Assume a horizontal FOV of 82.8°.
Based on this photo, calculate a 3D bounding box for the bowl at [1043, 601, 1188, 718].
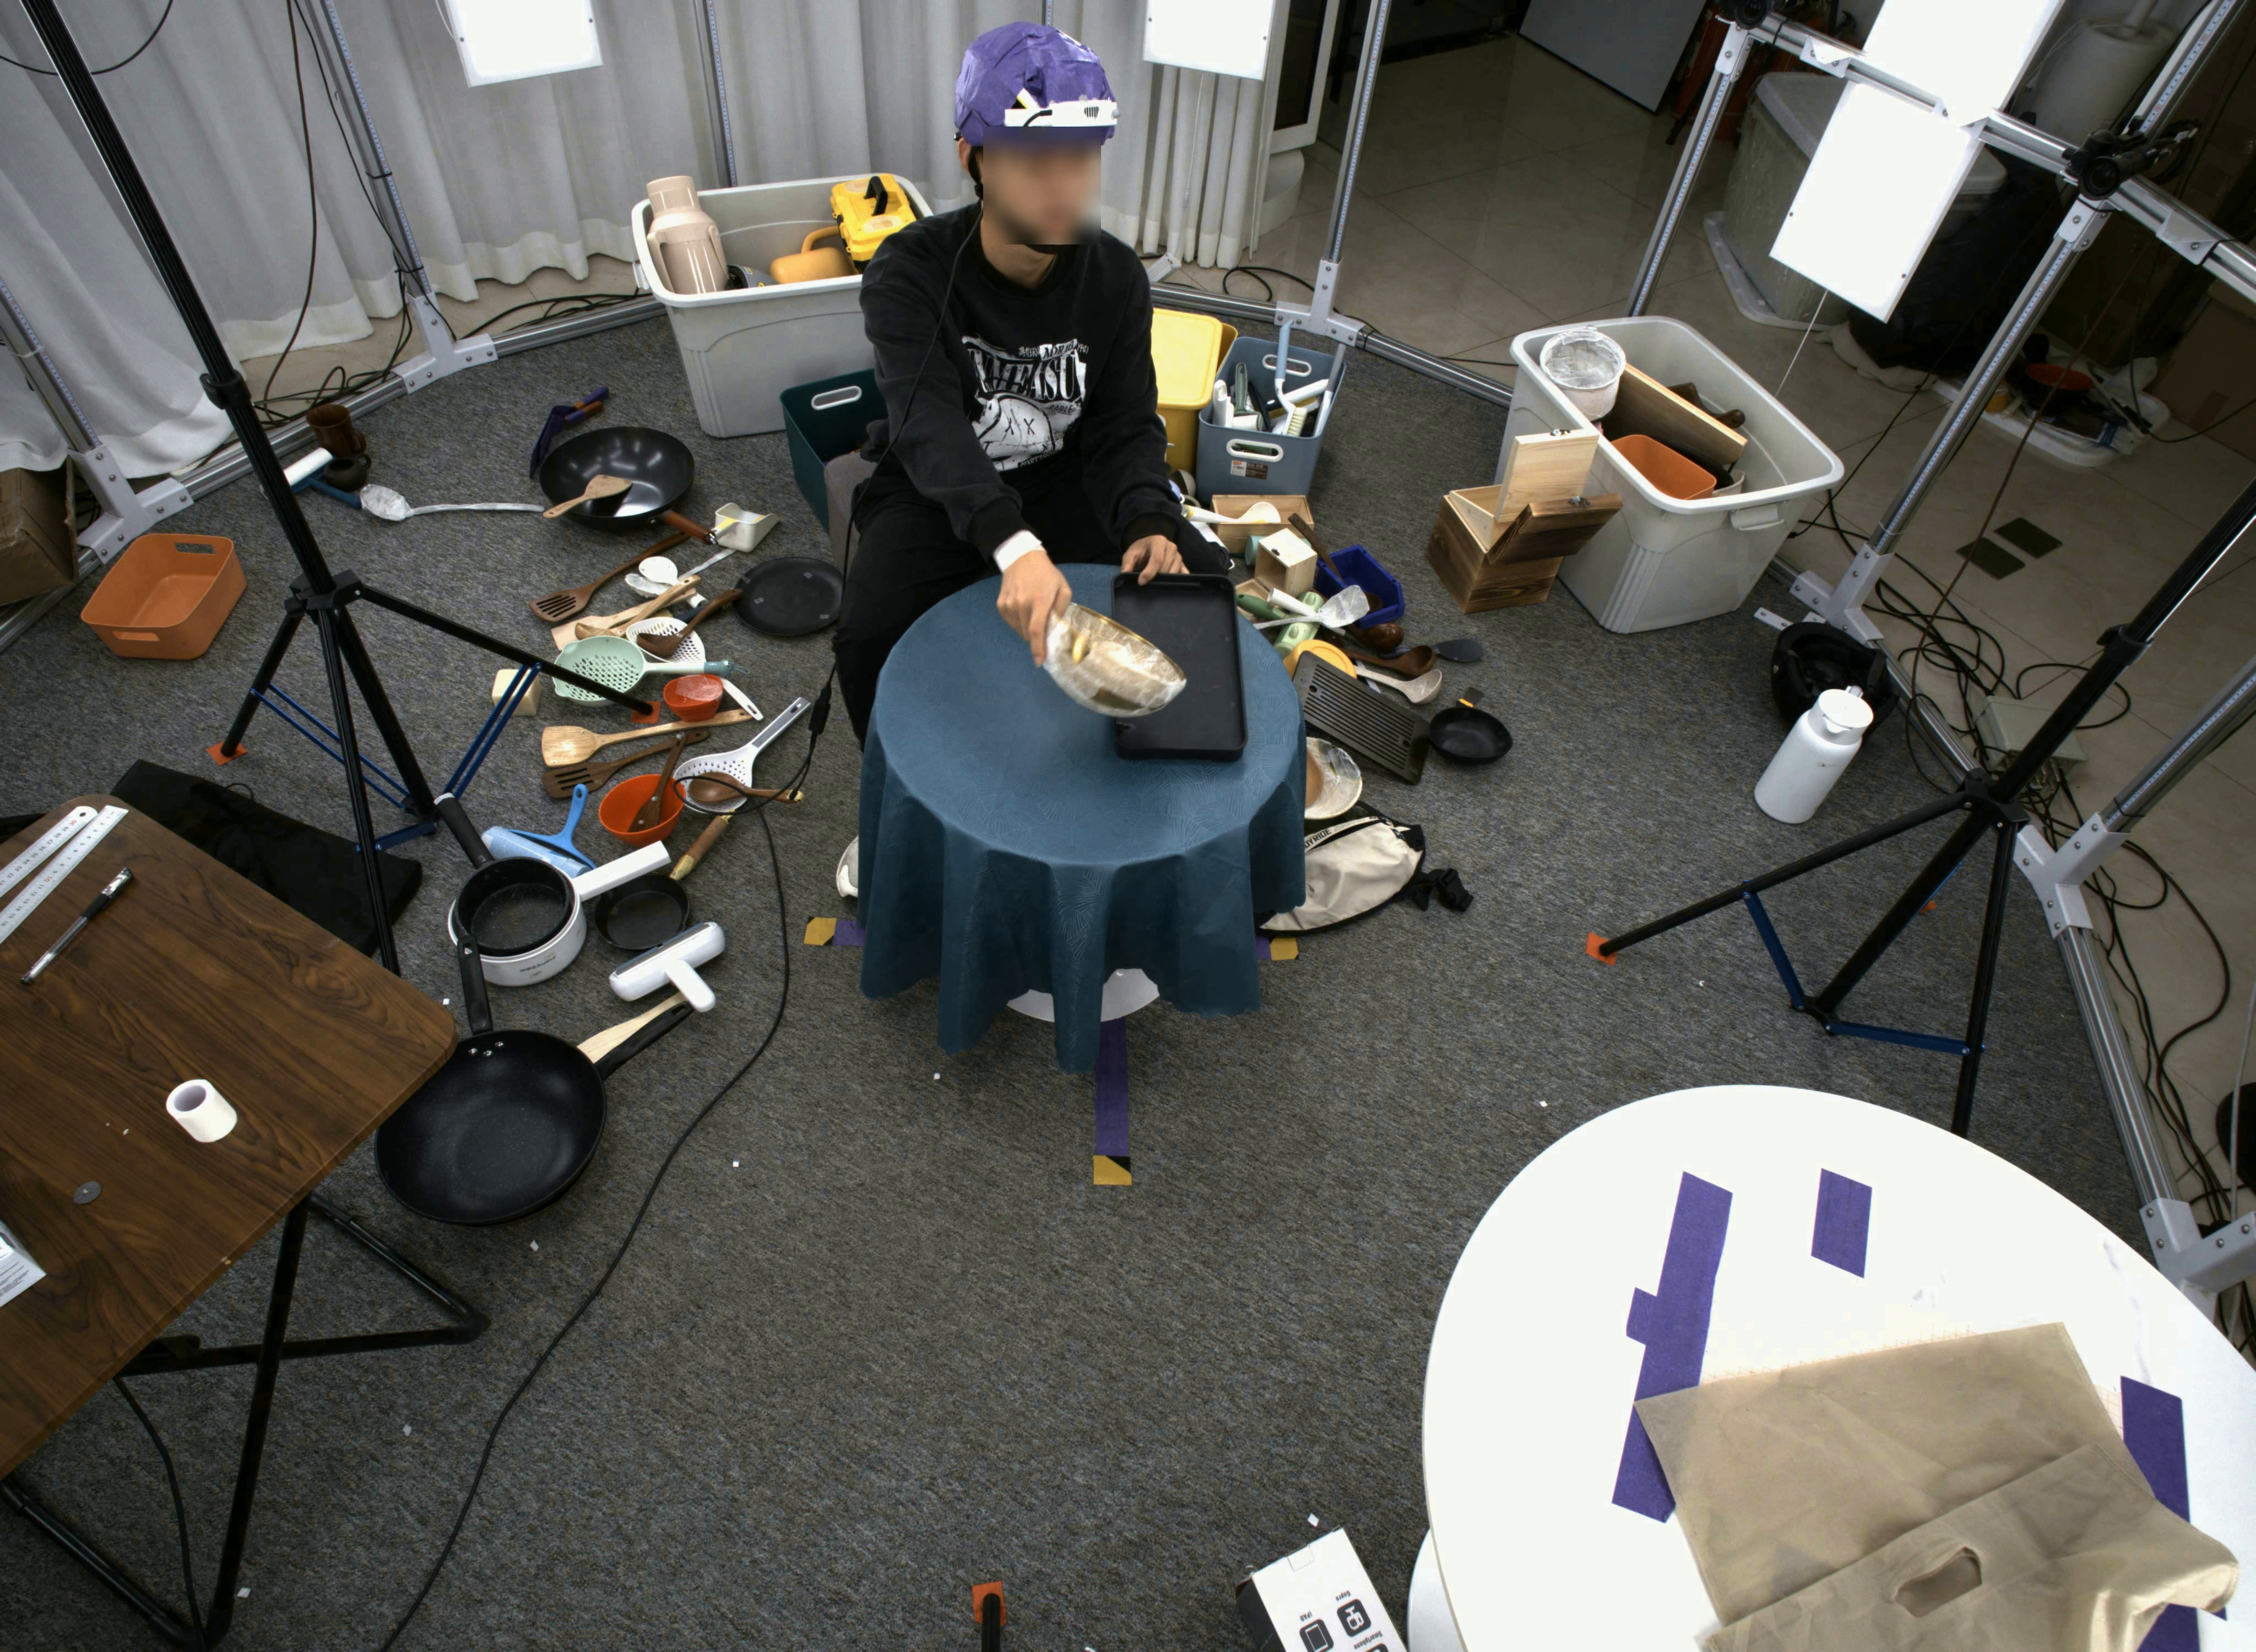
[{"bbox_3d":[-0.031,-0.204,1.675,0.213,0.093,0.218,28,17,-9],"label":"bowl"}]

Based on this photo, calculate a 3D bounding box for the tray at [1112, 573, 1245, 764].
[{"bbox_3d":[0.069,-0.230,1.841,0.184,0.036,0.325,2,57,-3],"label":"tray"}]
